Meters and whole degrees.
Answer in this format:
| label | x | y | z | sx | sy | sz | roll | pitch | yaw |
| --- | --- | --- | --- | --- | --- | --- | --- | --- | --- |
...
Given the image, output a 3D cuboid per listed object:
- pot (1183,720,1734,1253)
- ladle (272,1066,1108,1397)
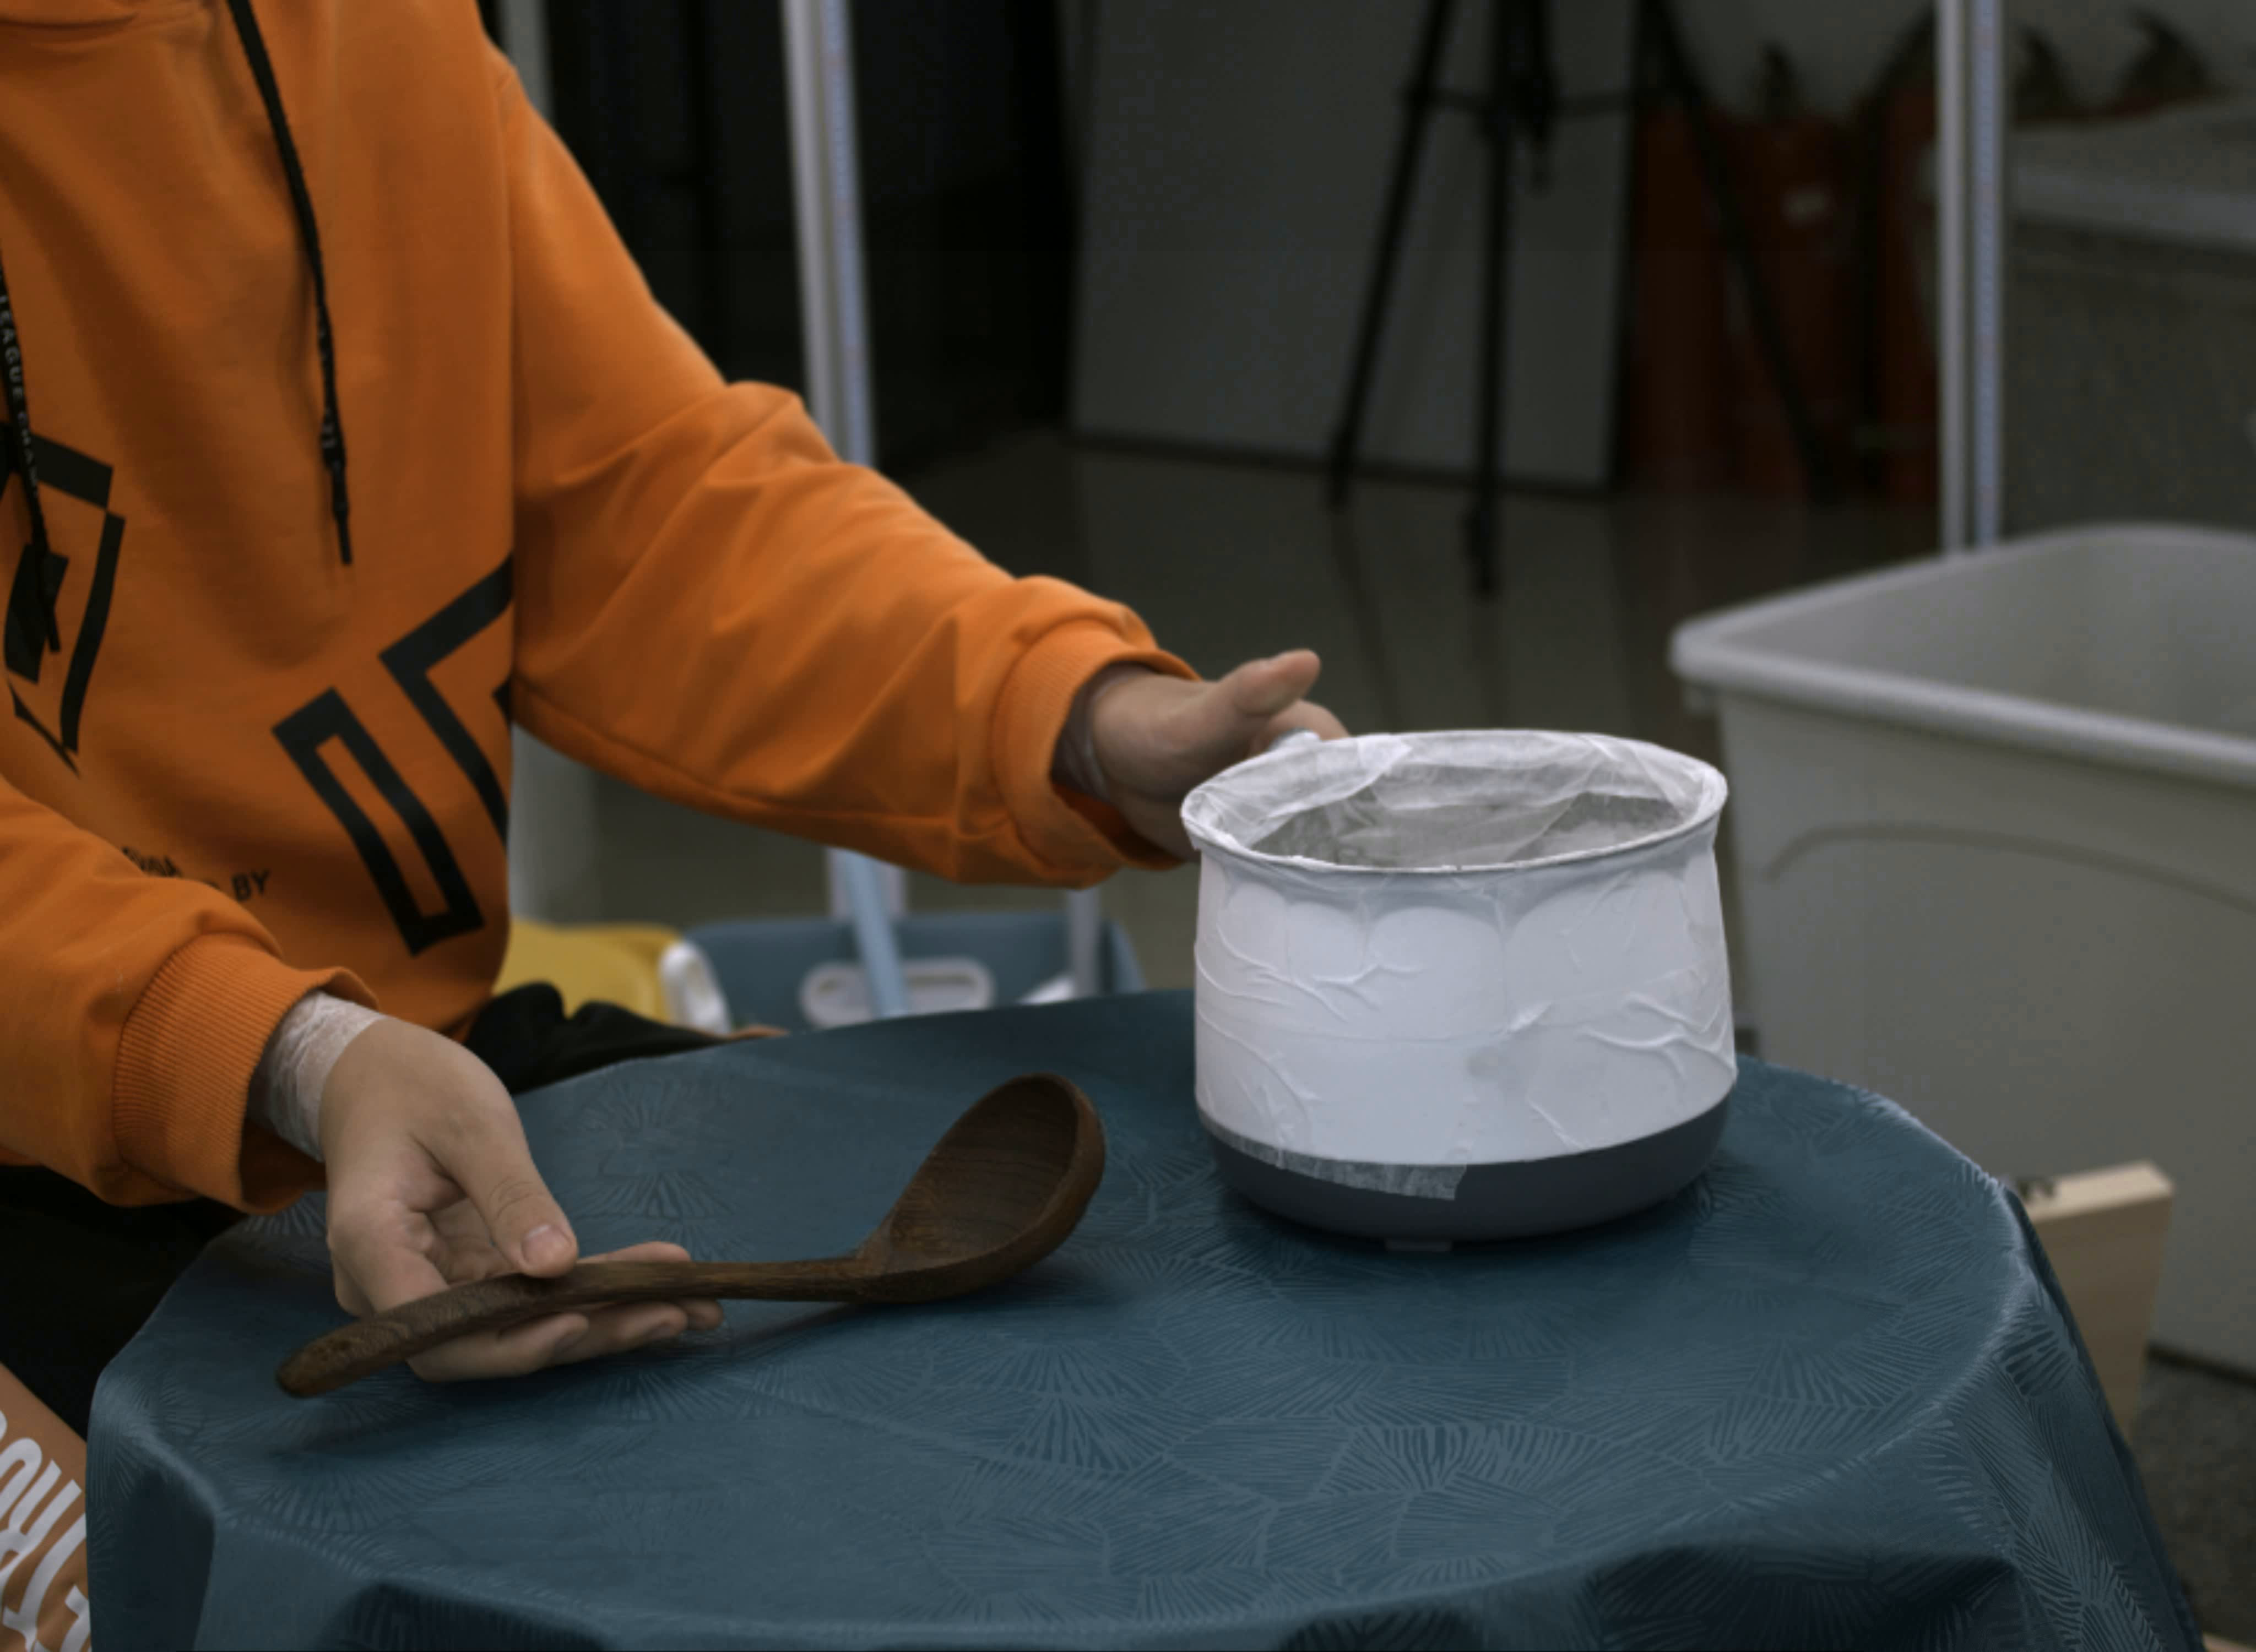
| label | x | y | z | sx | sy | sz | roll | pitch | yaw |
| --- | --- | --- | --- | --- | --- | --- | --- | --- | --- |
| pot | 0.094 | 0.045 | 1.761 | 0.175 | 0.138 | 0.236 | -10 | 15 | -28 |
| ladle | -0.130 | 0.120 | 1.639 | 0.268 | 0.072 | 0.077 | -5 | 11 | -28 |
